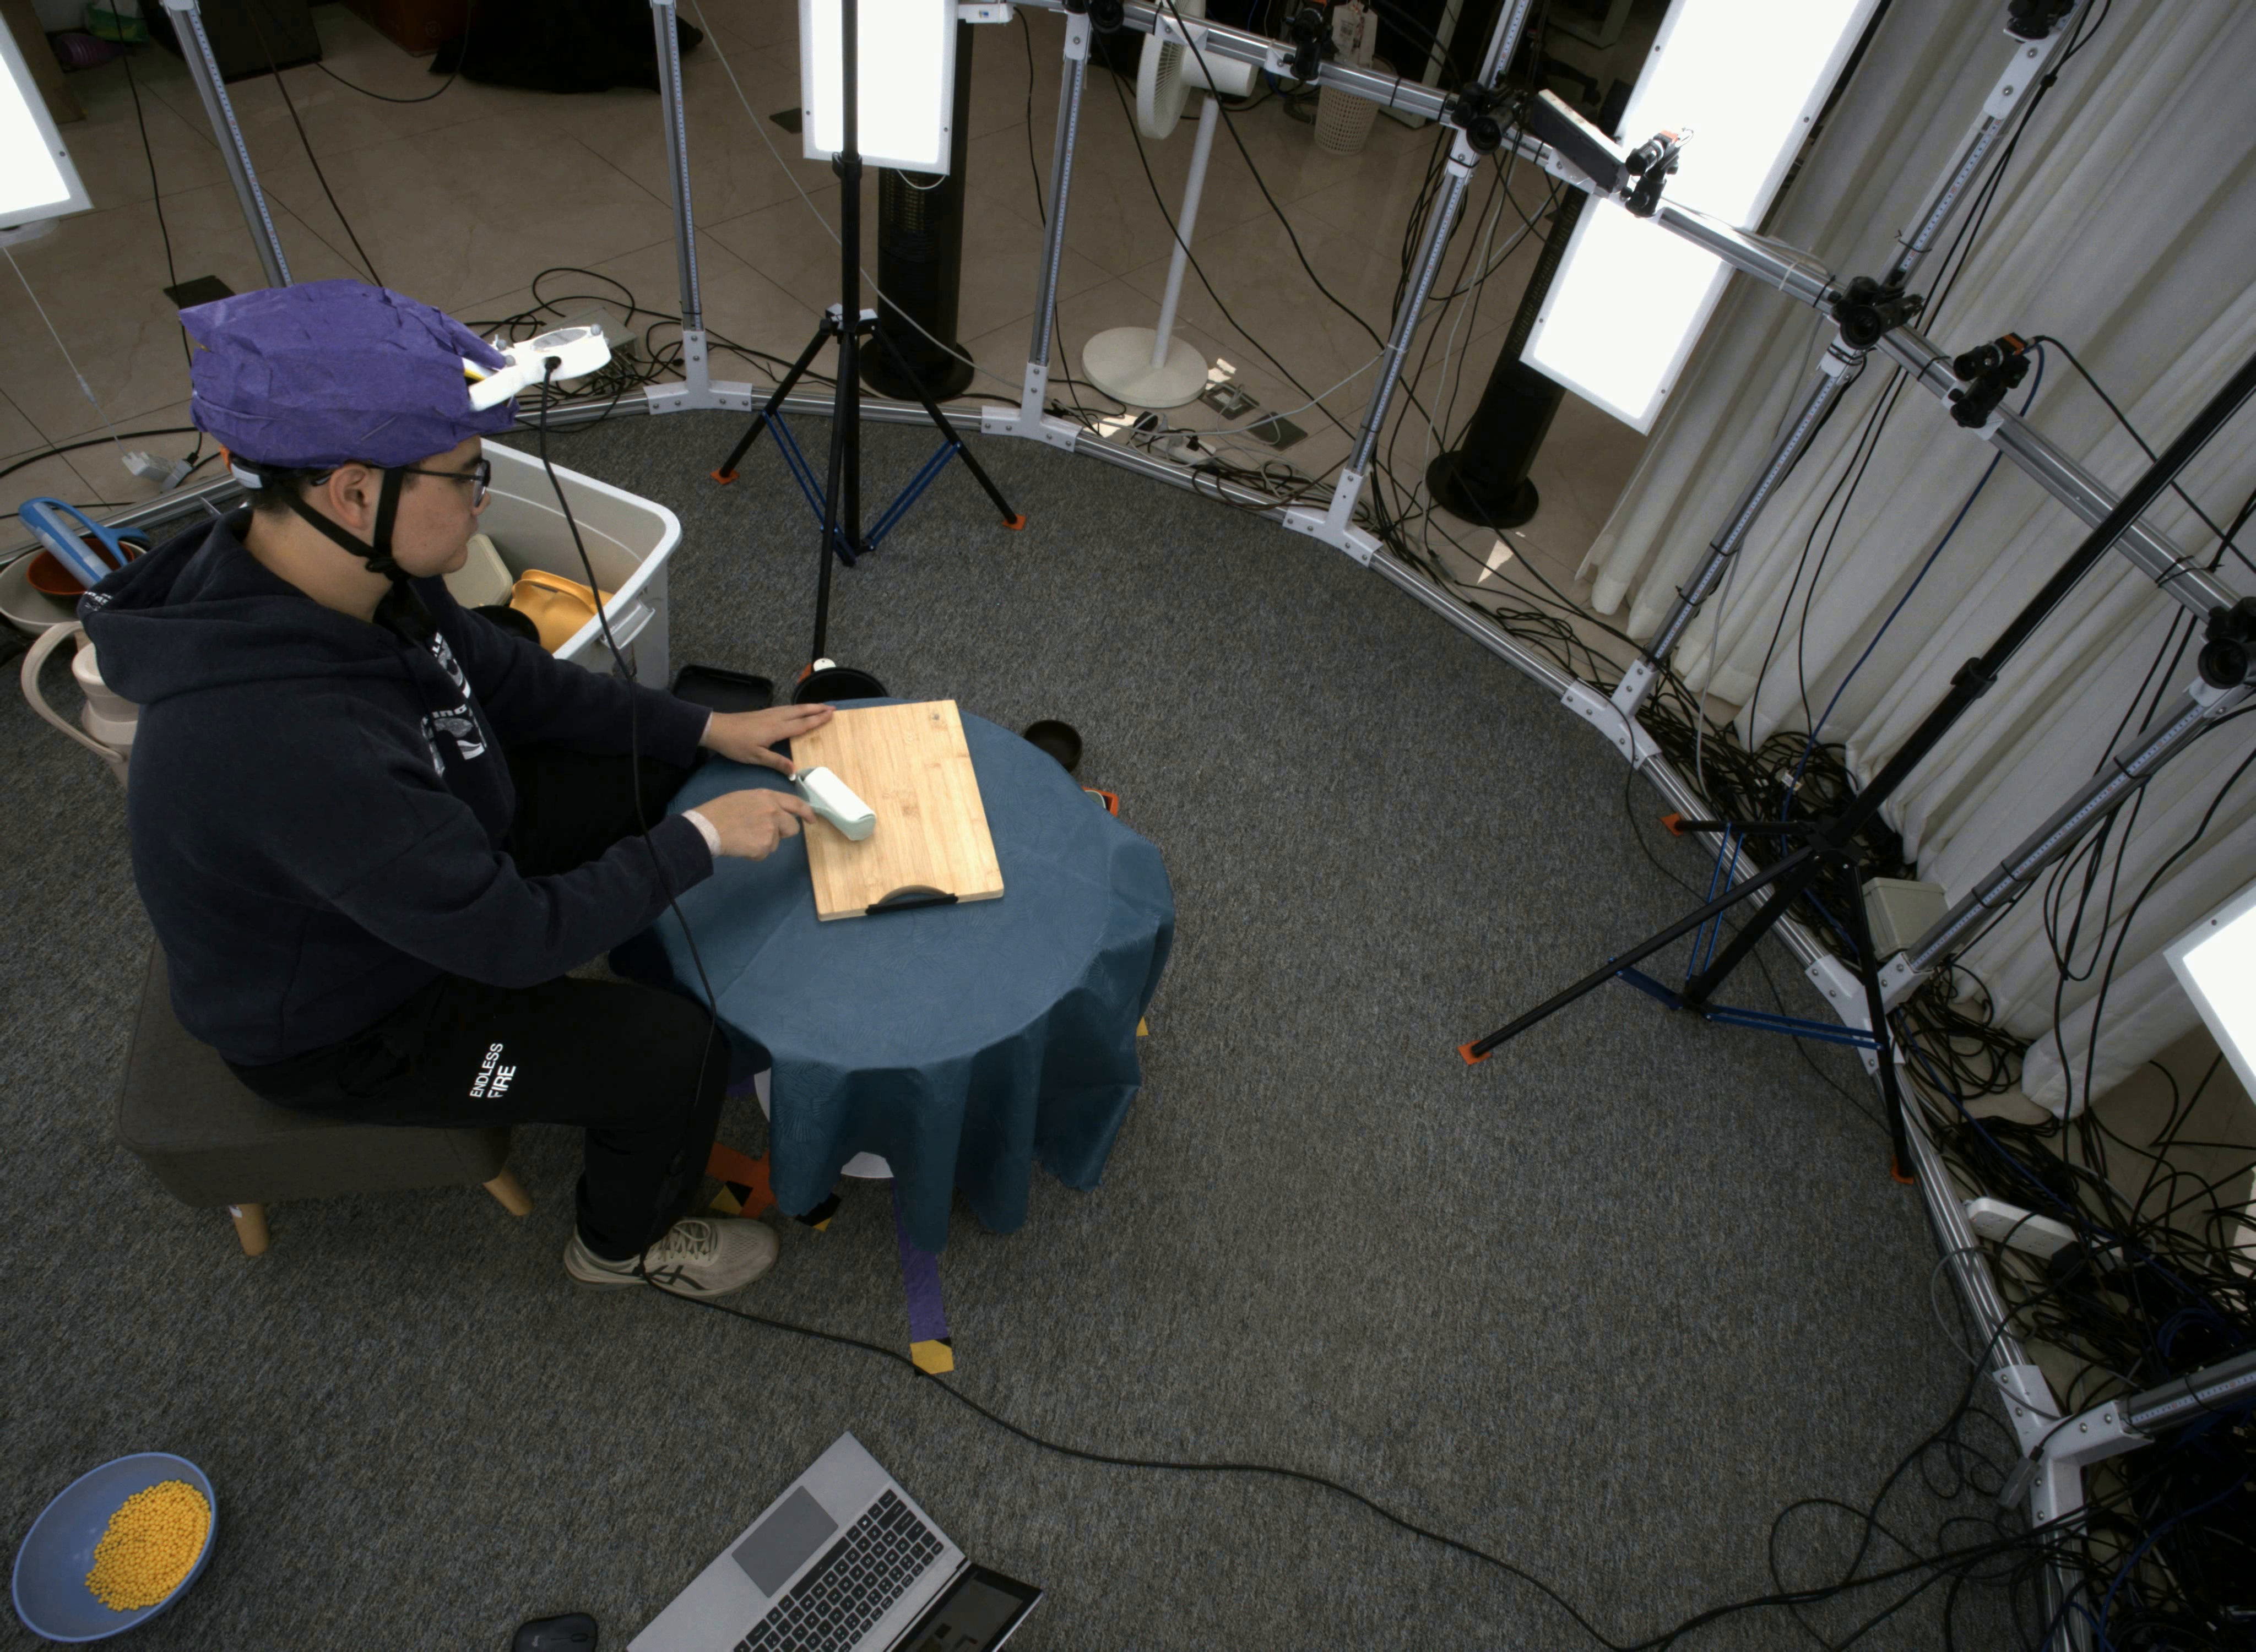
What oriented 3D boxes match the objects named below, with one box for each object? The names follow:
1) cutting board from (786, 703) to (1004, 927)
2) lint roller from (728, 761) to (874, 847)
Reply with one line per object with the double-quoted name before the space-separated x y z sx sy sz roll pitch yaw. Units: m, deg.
"cutting board" -0.320 -0.027 1.757 0.251 0.024 0.340 -8 56 -19
"lint roller" -0.426 -0.021 1.645 0.114 0.049 0.199 43 32 17
